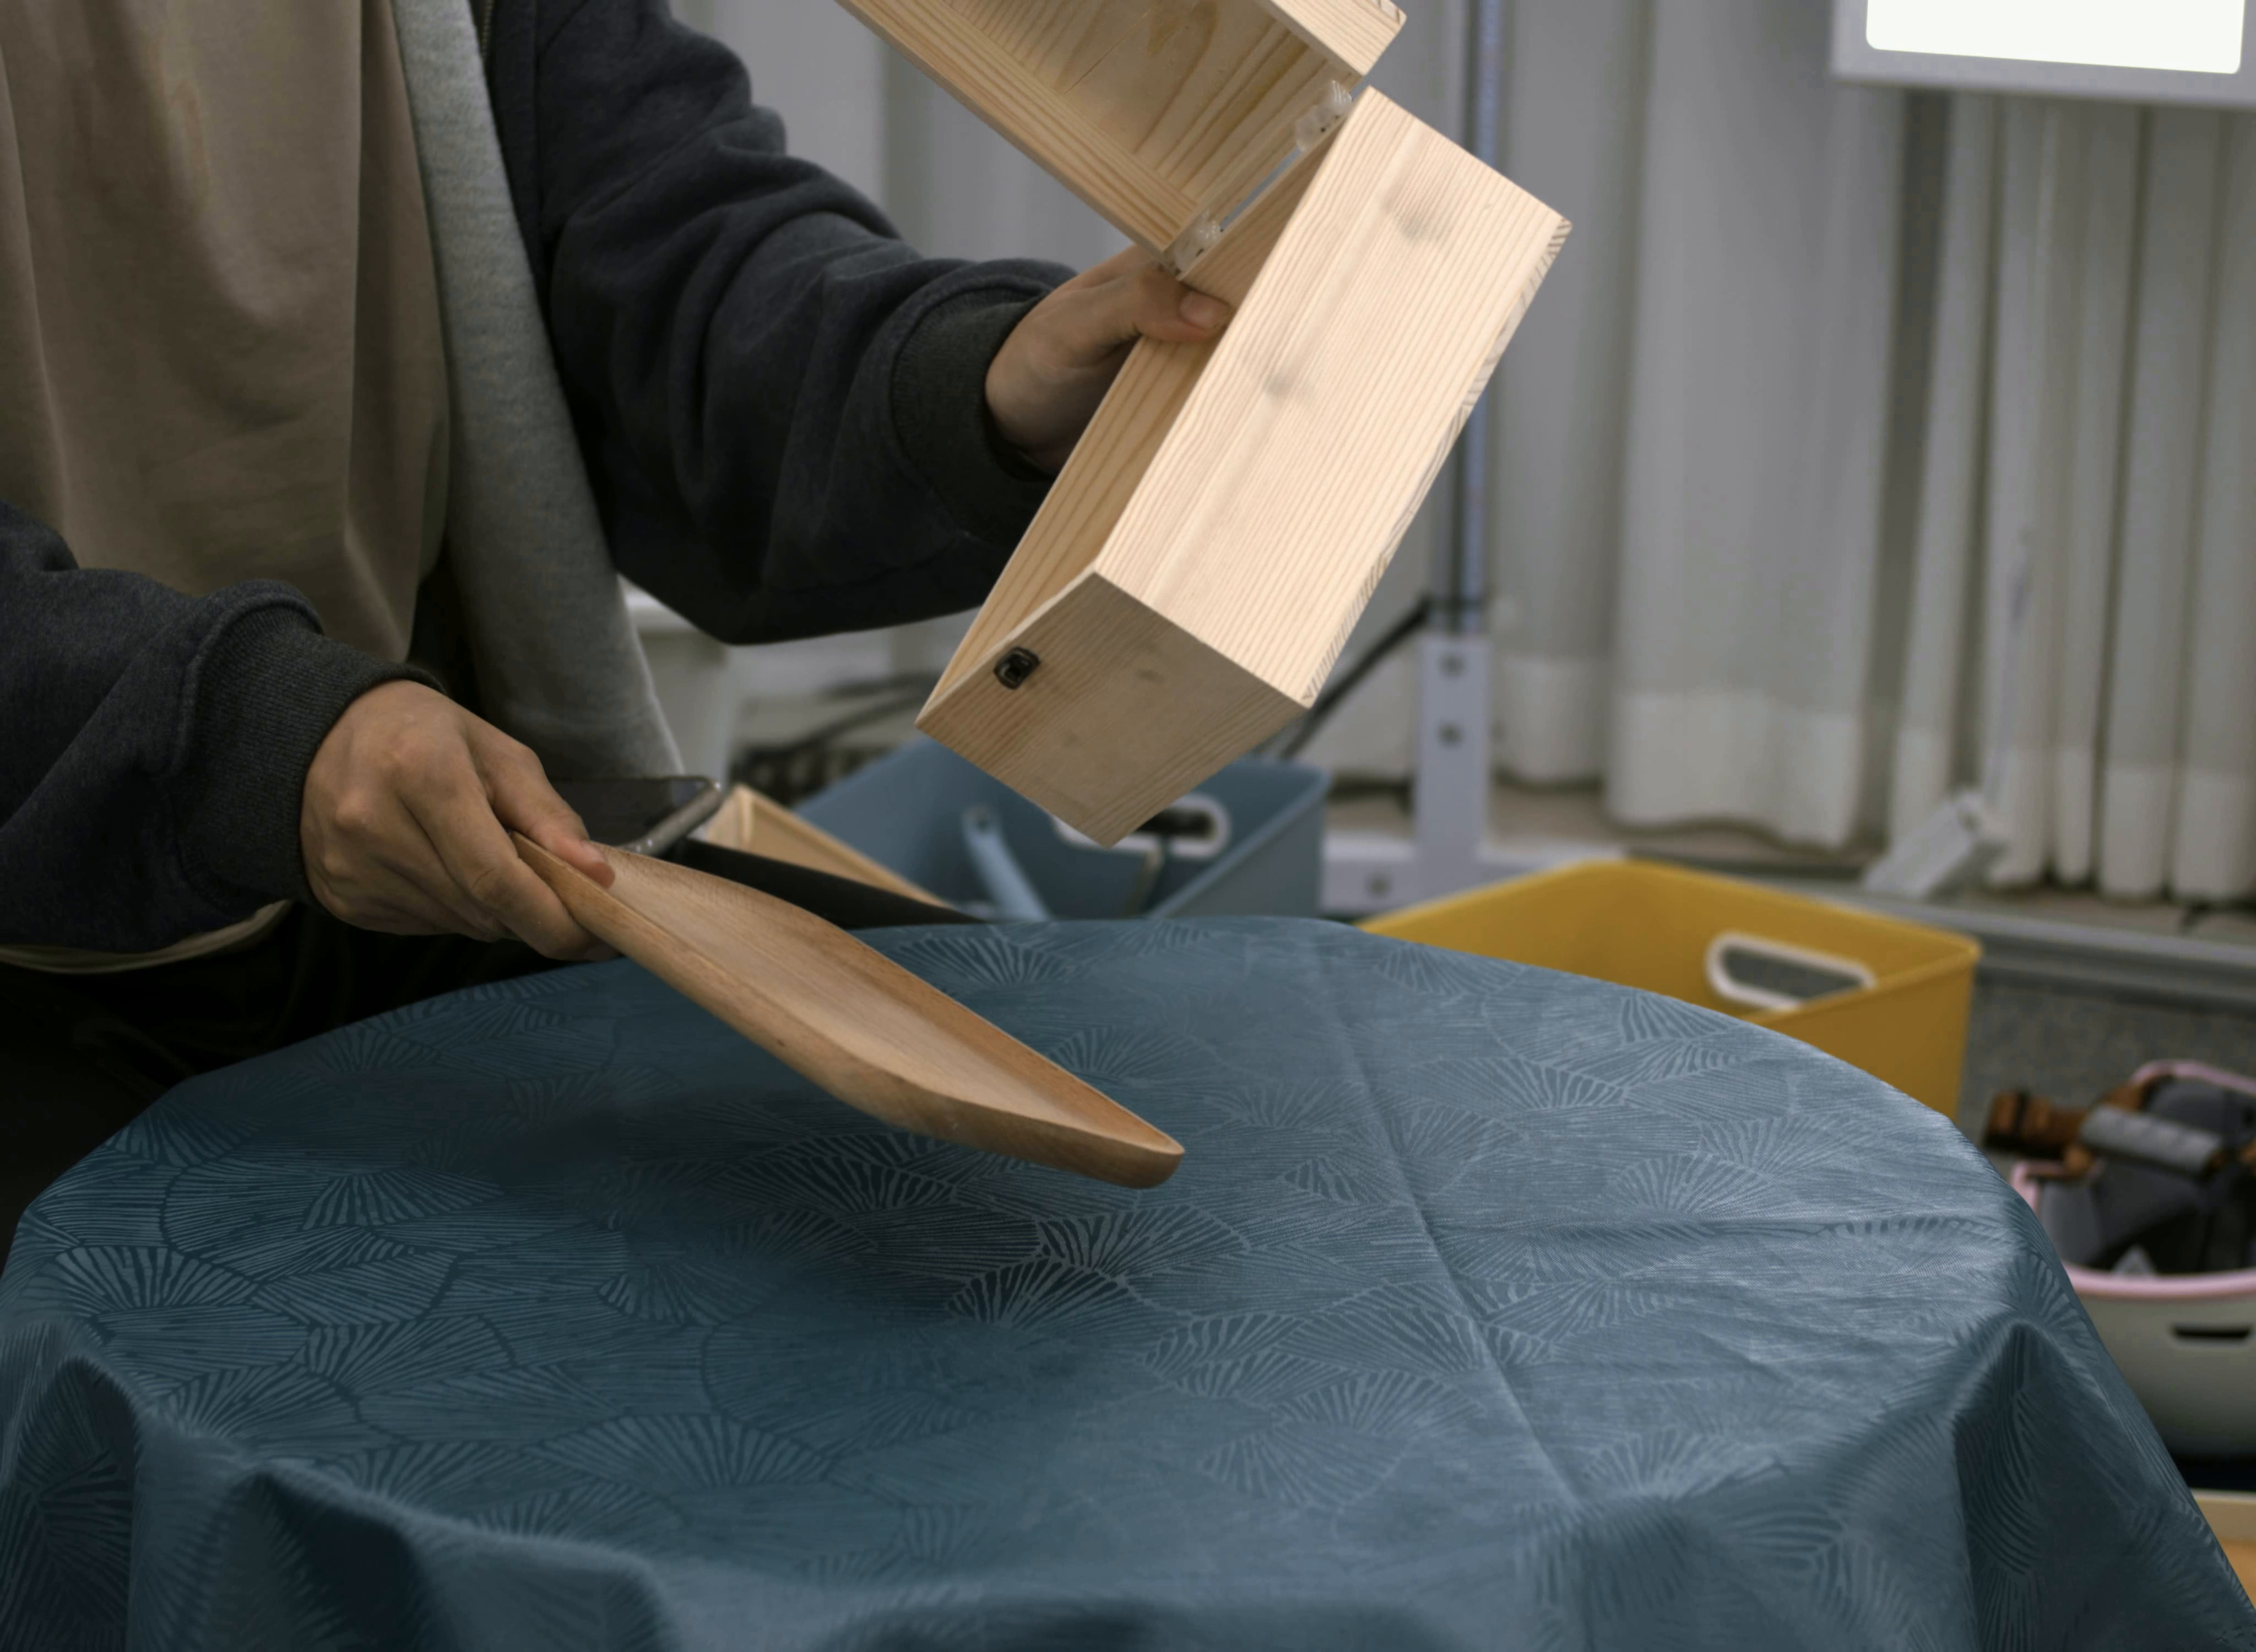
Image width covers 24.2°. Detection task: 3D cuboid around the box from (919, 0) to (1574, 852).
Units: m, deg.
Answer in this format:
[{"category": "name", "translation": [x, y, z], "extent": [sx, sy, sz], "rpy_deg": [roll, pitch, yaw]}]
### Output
[{"category": "box", "translation": [-0.021, -0.180, 1.603], "extent": [0.254, 0.264, 0.181], "rpy_deg": [33, -22, -7]}]

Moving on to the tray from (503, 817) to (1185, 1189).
[{"category": "tray", "translation": [-0.091, 0.053, 1.594], "extent": [0.132, 0.023, 0.247], "rpy_deg": [21, 5, -38]}]
